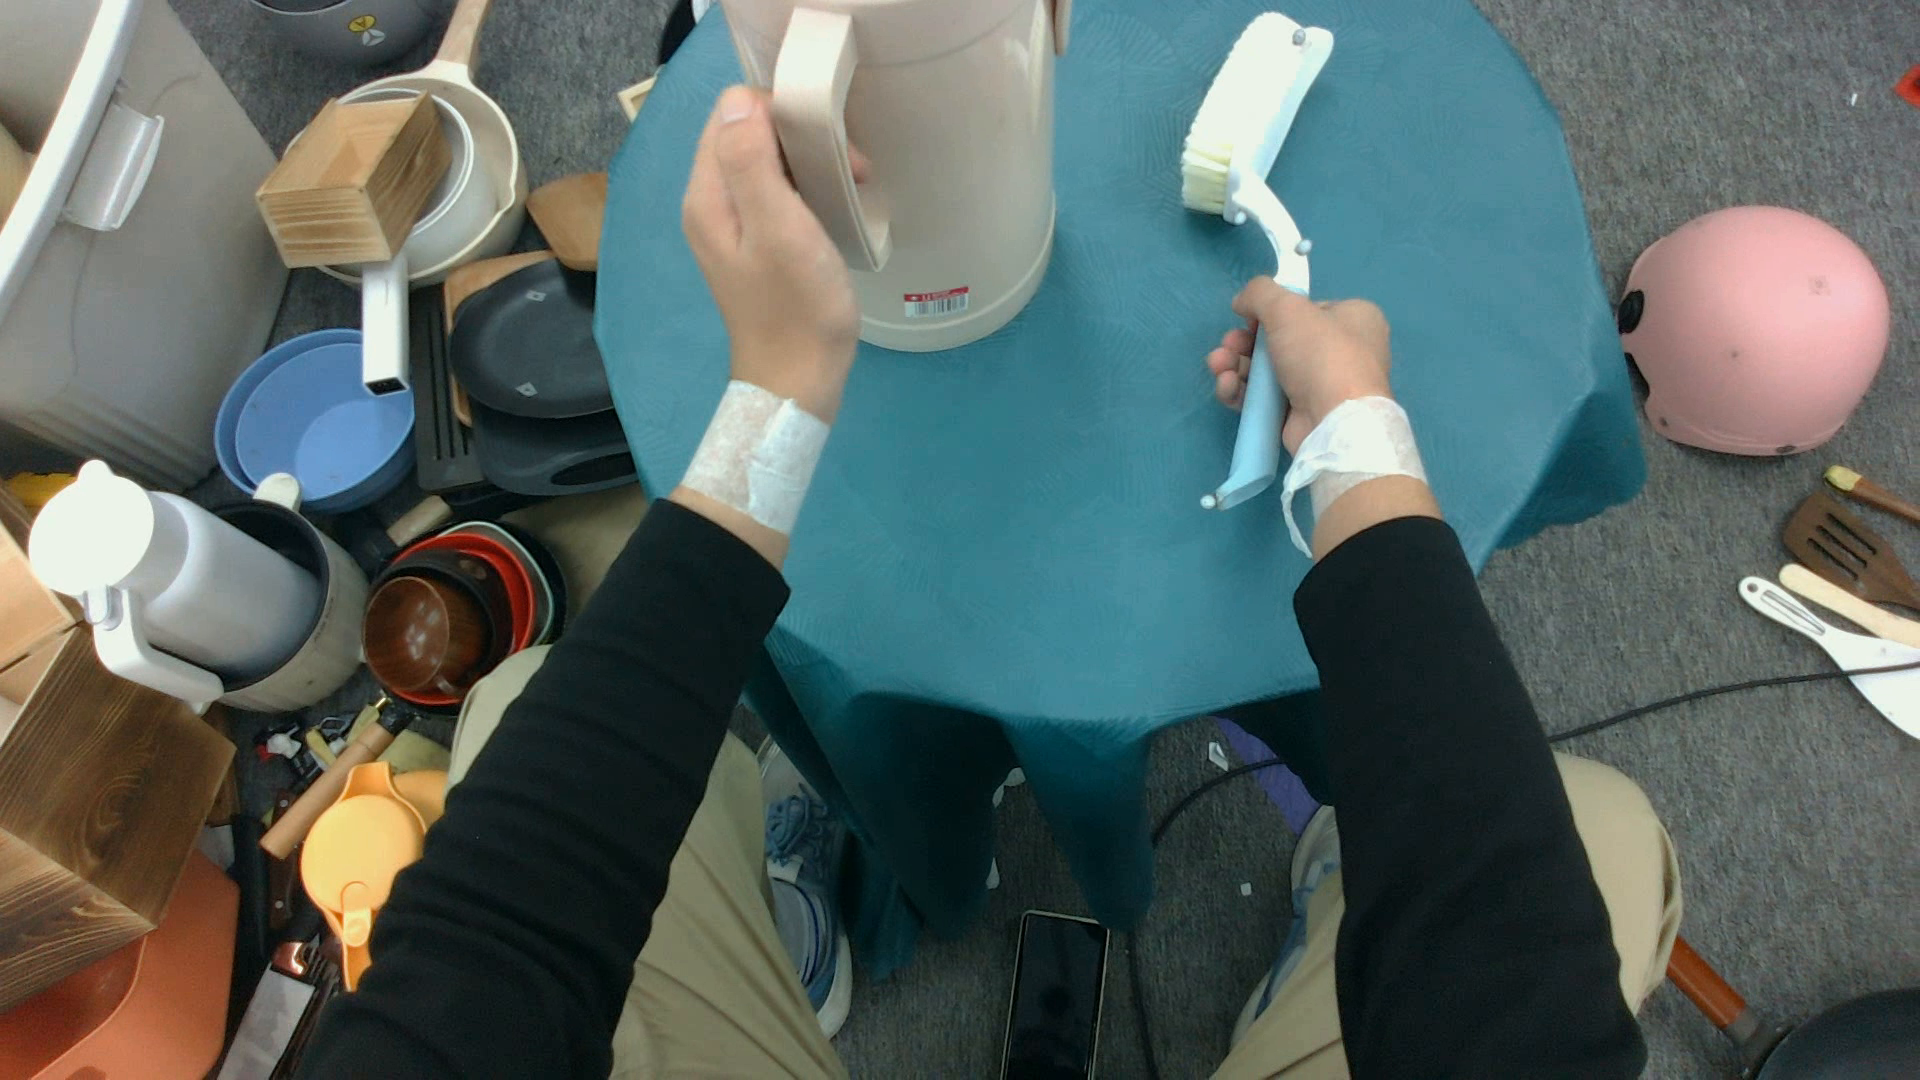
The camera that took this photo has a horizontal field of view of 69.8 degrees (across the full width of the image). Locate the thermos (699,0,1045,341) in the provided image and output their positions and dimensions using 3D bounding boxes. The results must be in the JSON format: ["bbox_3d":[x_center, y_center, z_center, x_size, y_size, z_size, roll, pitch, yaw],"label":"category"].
[{"bbox_3d":[-0.047,-0.241,0.651,0.175,0.405,0.207,11,72,4],"label":"thermos"}]

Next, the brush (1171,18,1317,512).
[{"bbox_3d":[0.143,-0.169,0.784,0.084,0.083,0.326,-9,59,44],"label":"brush"}]
